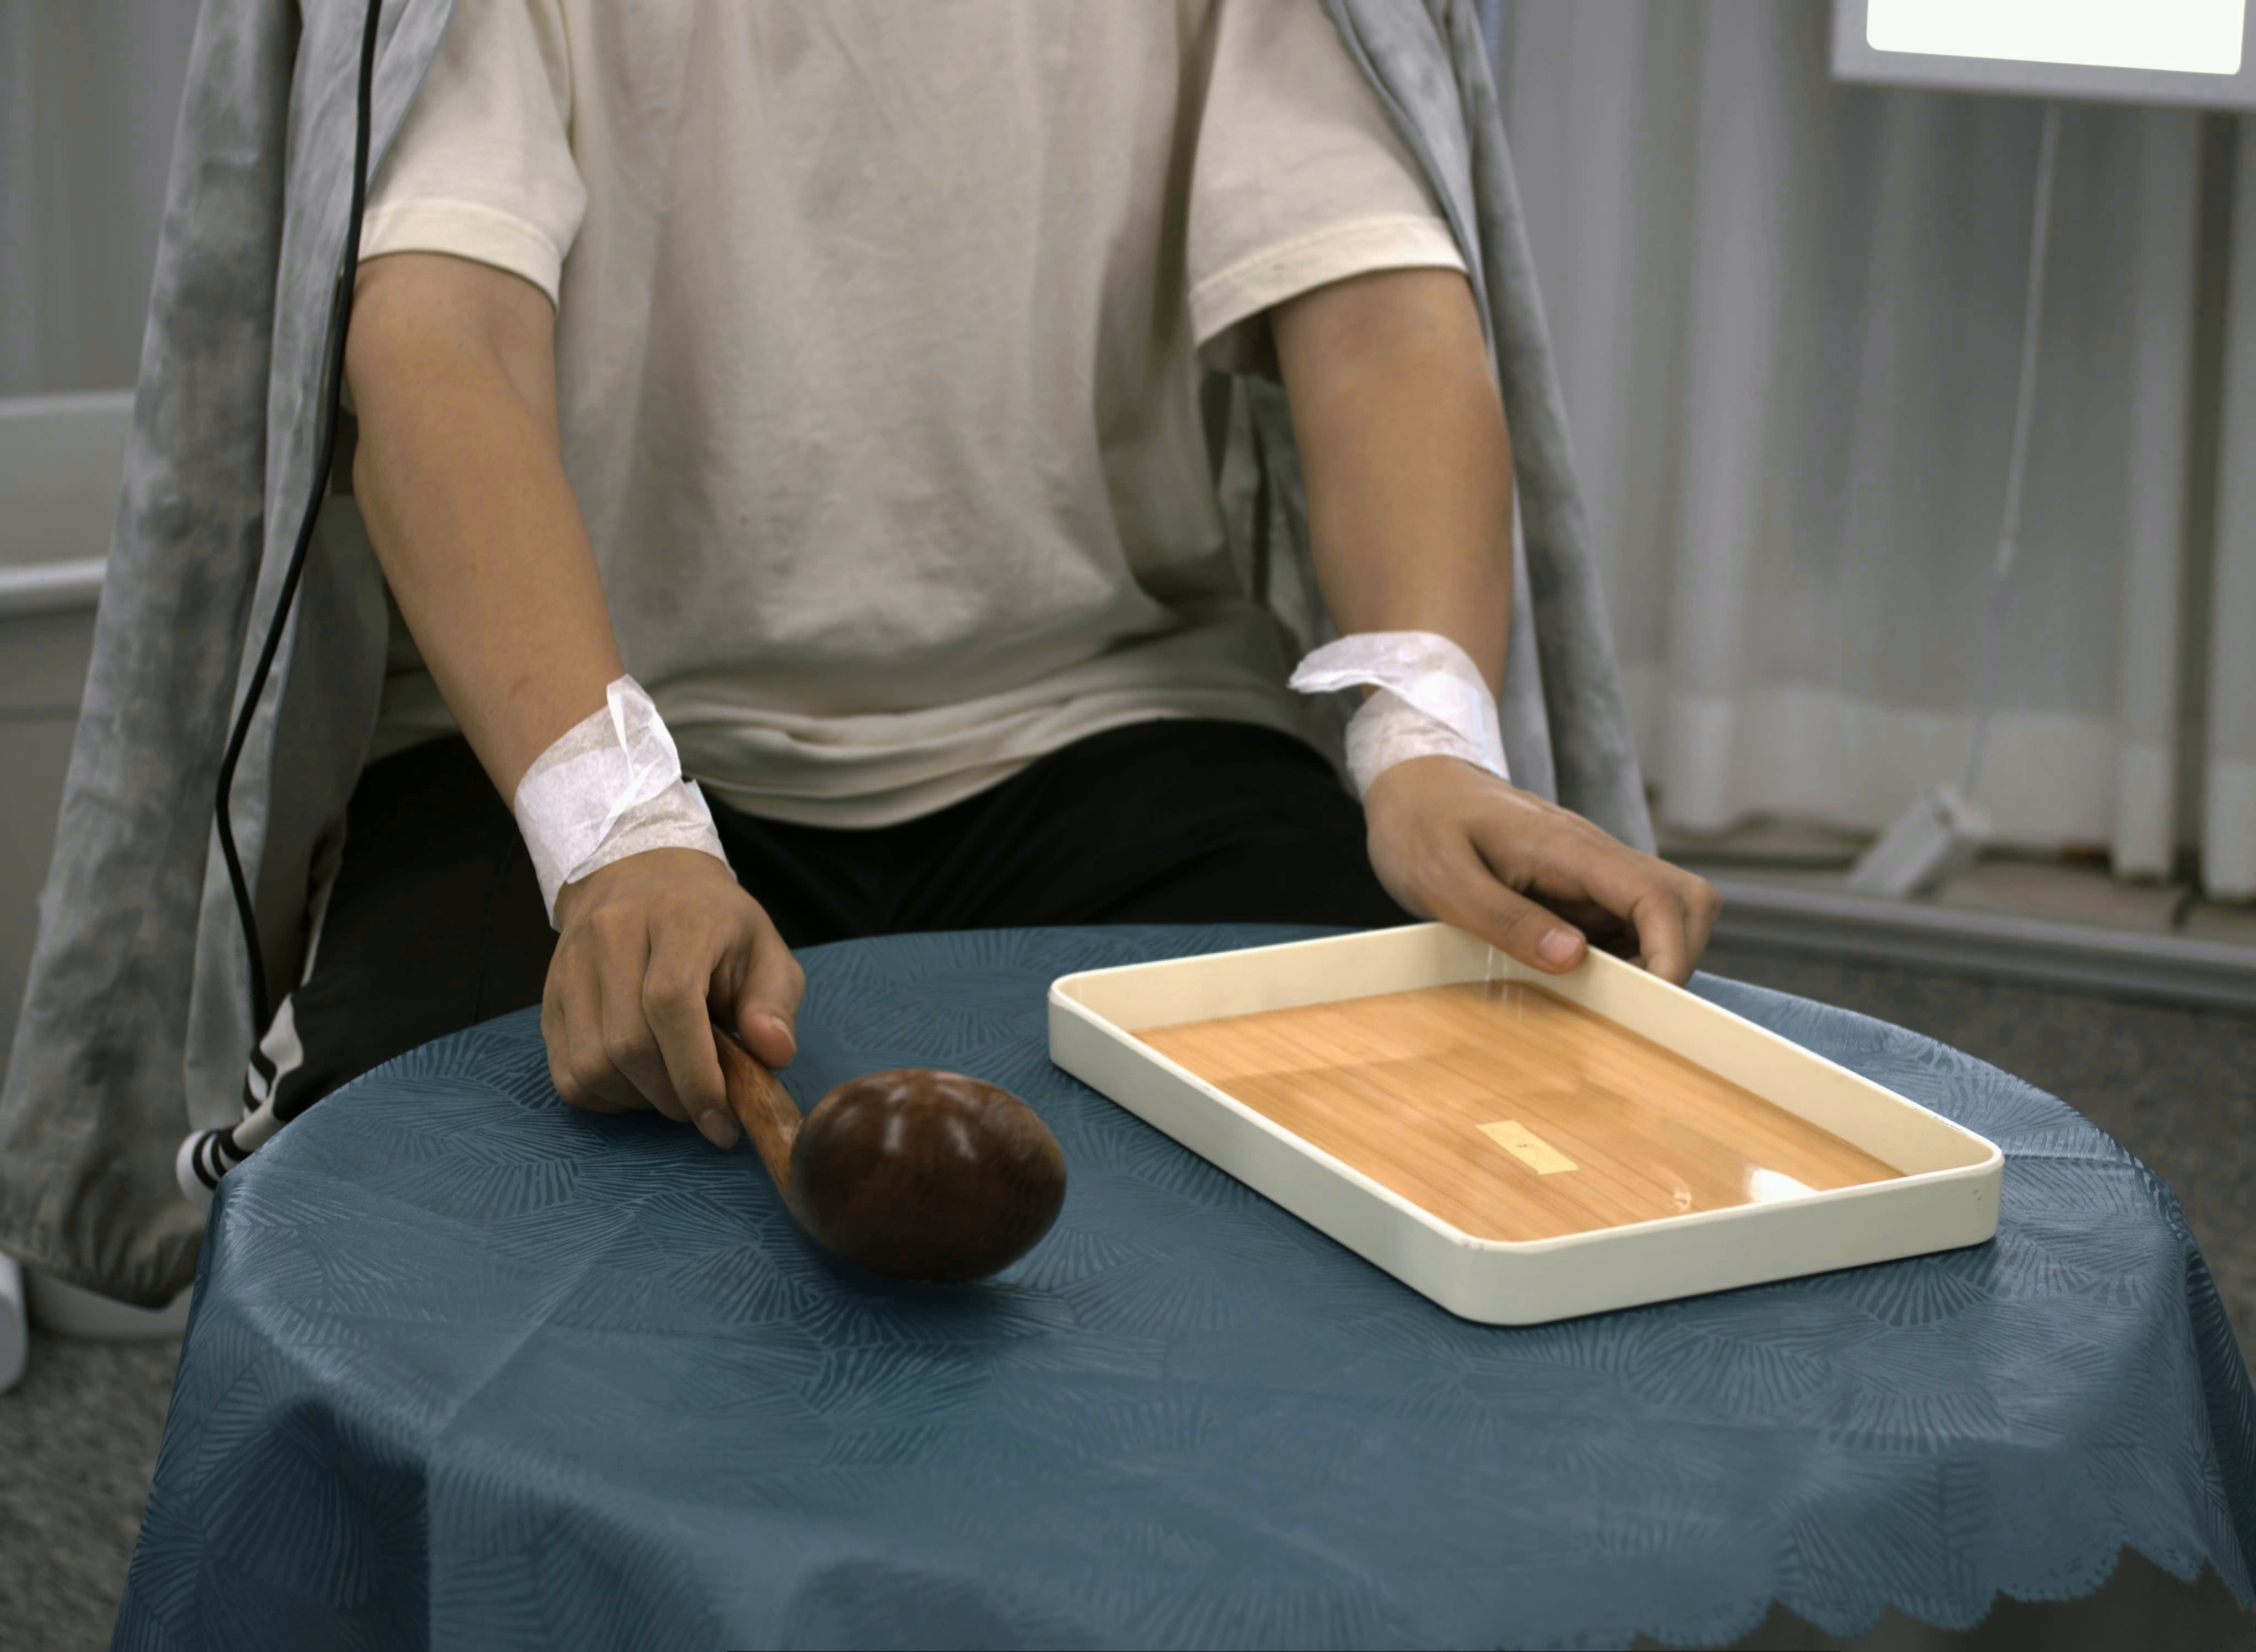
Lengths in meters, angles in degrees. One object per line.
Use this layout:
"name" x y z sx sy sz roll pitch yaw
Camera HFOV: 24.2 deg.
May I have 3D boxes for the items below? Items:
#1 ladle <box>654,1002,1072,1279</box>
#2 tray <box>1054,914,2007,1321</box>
"ladle" -0.090 0.074 1.618 0.083 0.076 0.271 40 0 -23
"tray" 0.120 0.087 1.670 0.192 0.027 0.296 -7 17 -26
